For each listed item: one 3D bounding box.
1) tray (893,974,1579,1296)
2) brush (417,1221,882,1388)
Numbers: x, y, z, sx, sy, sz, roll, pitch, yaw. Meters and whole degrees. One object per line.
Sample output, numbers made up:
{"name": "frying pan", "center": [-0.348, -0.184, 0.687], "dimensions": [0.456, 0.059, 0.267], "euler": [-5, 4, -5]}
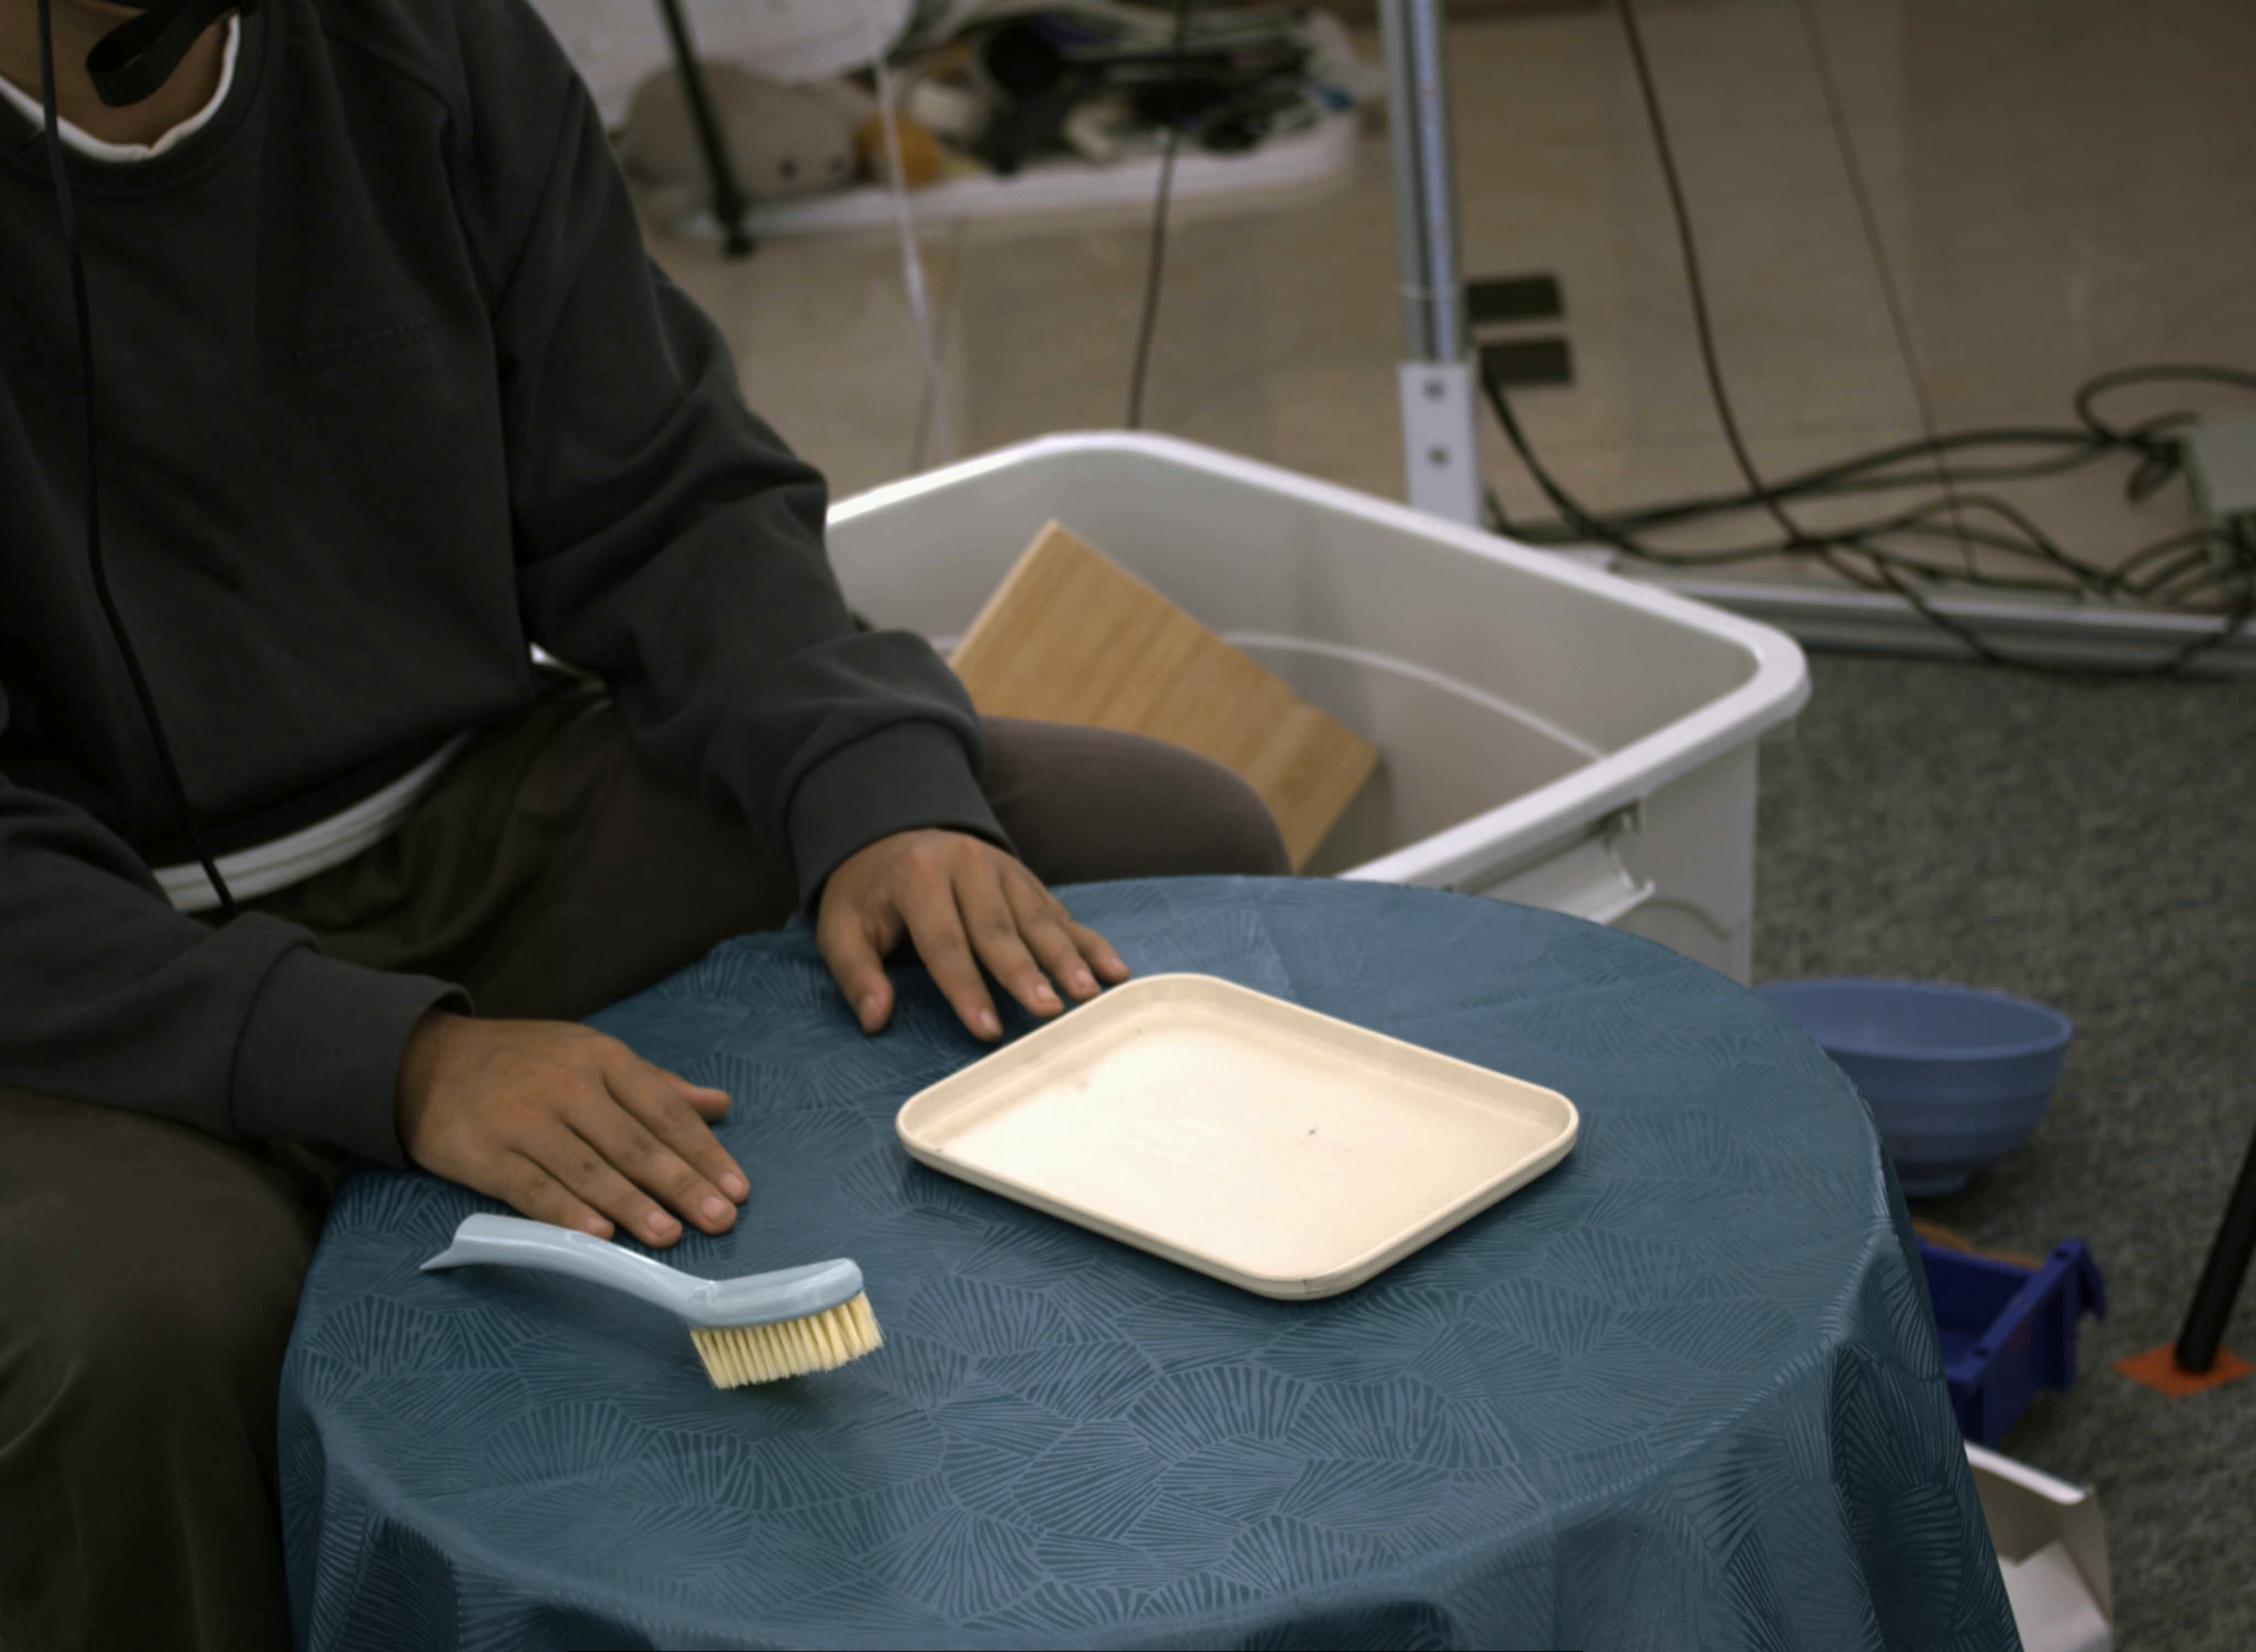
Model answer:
{"name": "tray", "center": [0.040, 0.117, 2.164], "dimensions": [0.238, 0.018, 0.170], "euler": [18, 33, 42]}
{"name": "brush", "center": [-0.179, 0.174, 2.078], "dimensions": [0.228, 0.050, 0.037], "euler": [3, 19, 40]}
